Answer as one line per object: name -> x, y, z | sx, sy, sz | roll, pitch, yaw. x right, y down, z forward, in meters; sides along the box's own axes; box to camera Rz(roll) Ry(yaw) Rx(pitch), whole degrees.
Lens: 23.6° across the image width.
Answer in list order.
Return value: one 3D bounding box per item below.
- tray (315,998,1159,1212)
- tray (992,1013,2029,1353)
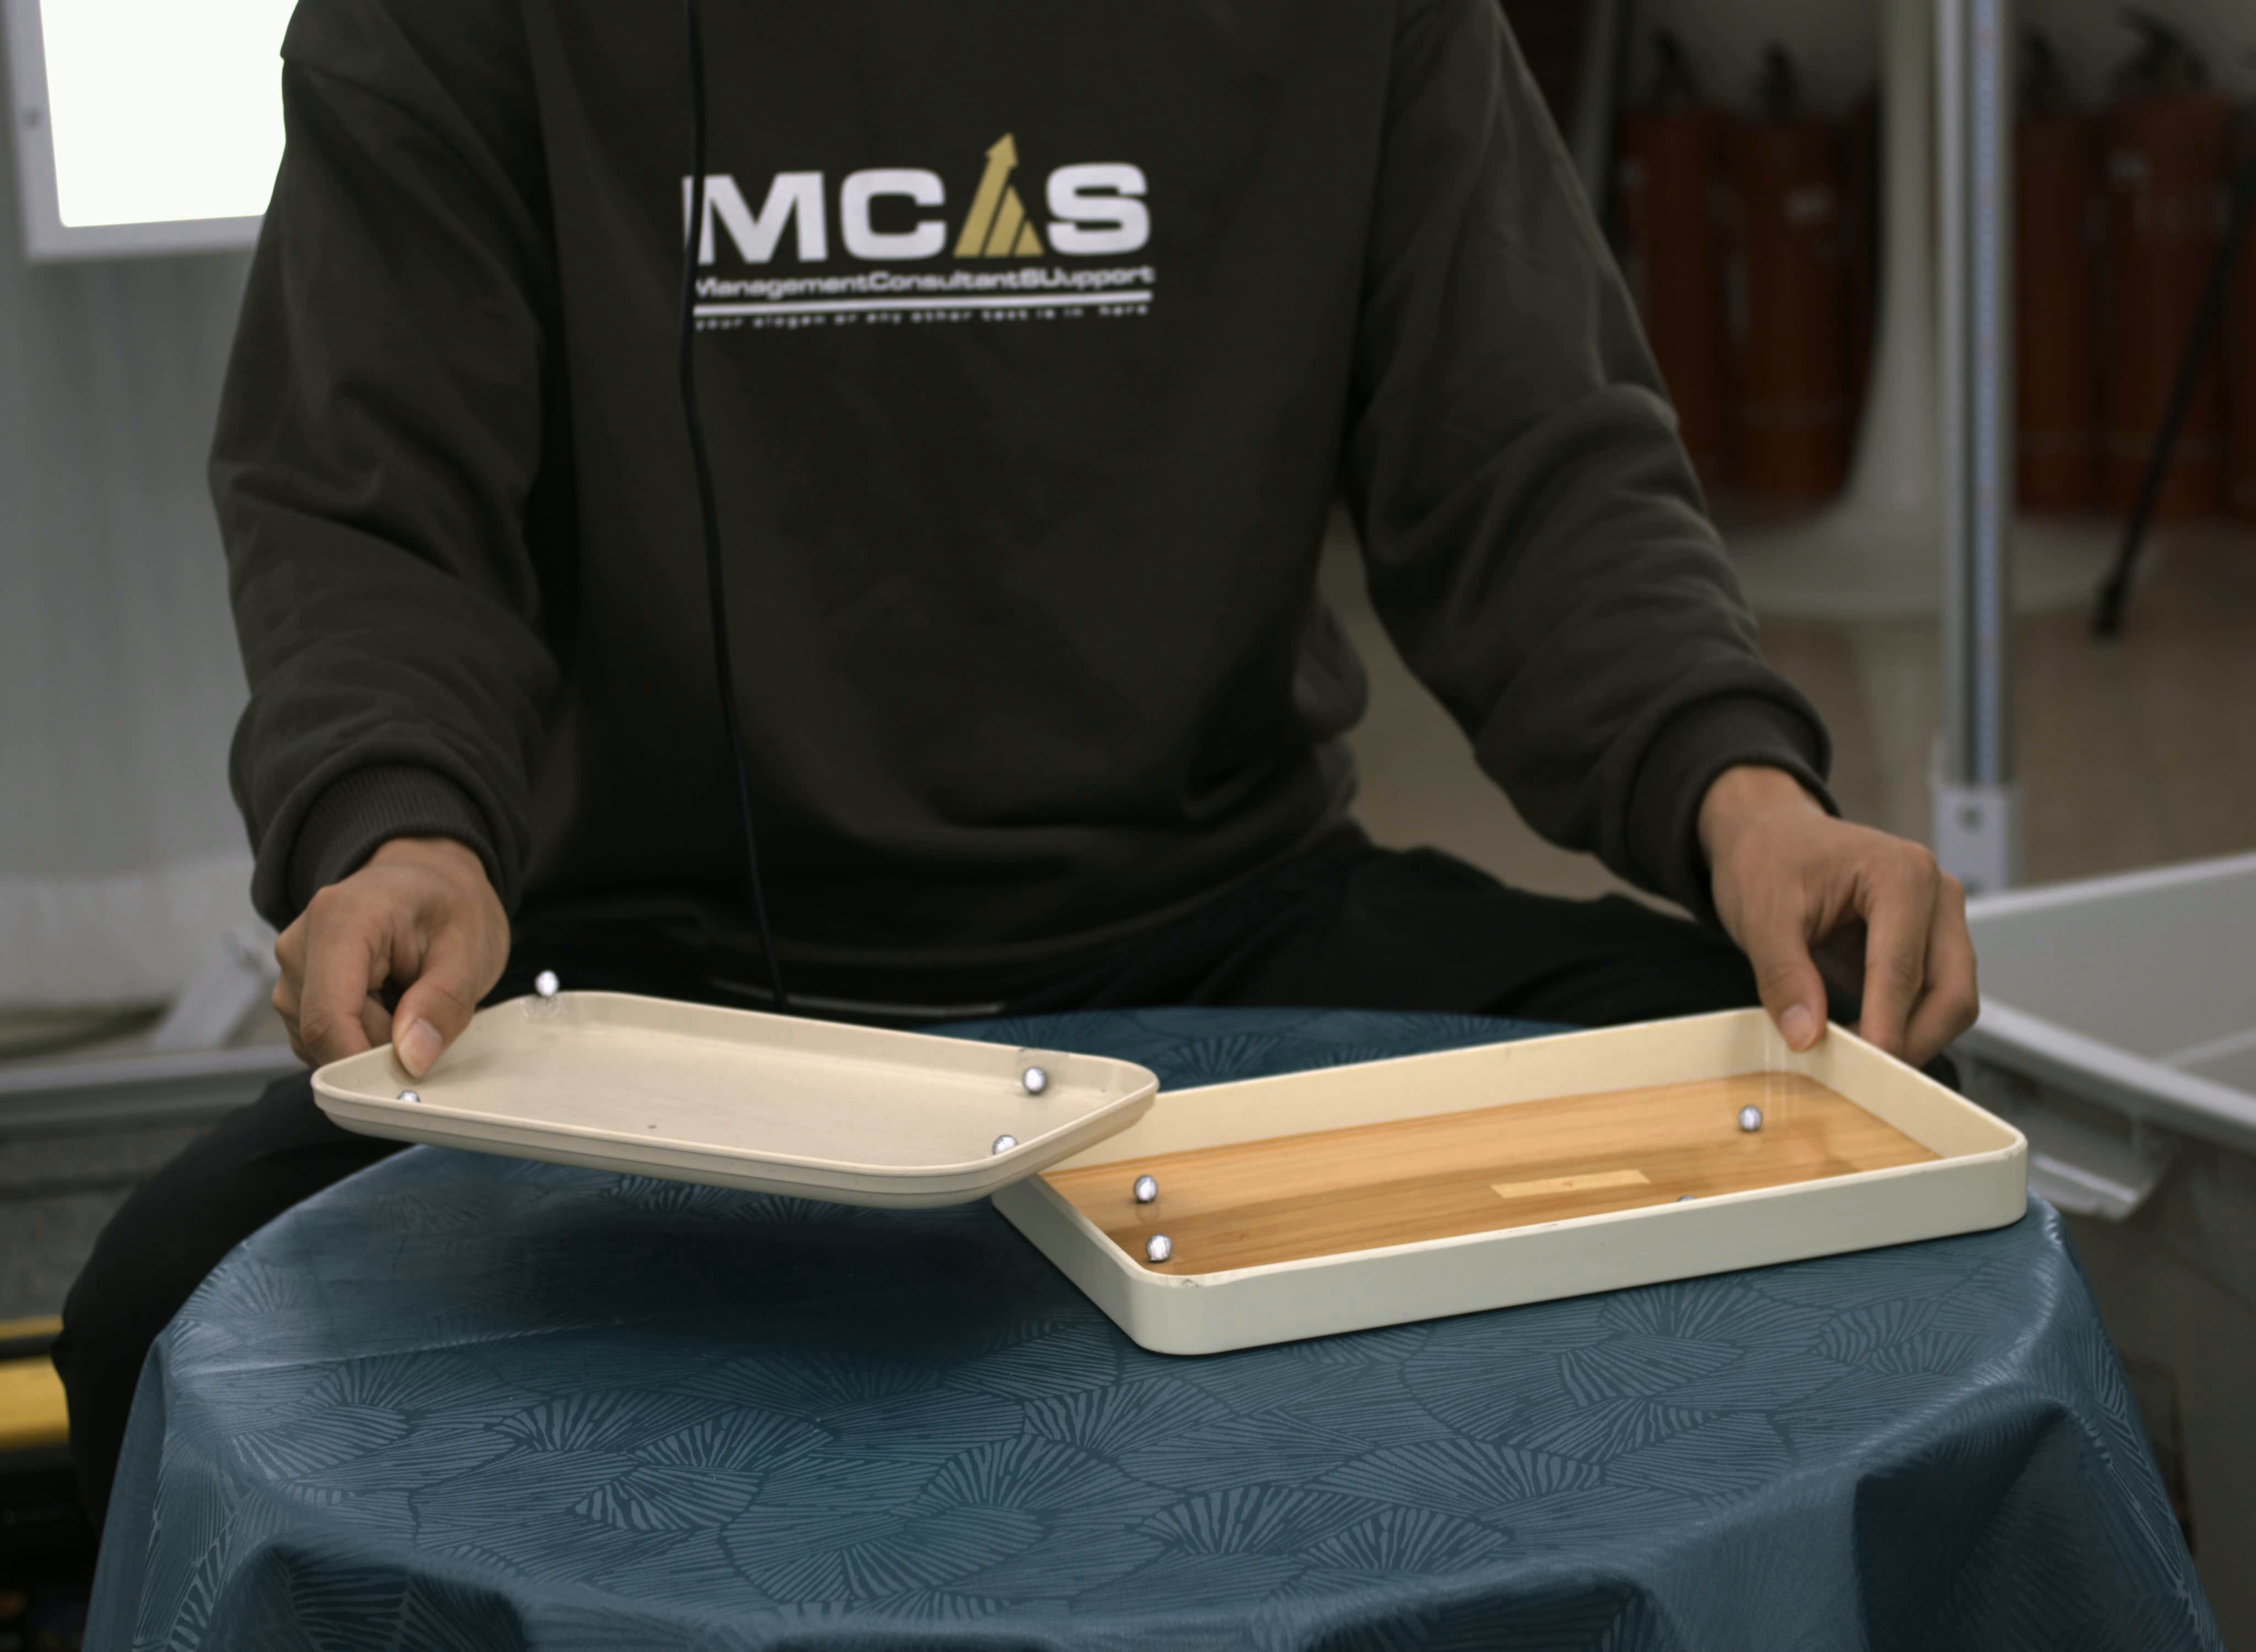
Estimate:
tray -> -0.122, 0.087, 1.697 | 0.240, 0.018, 0.169 | 6, 11, 26
tray -> 0.119, 0.112, 1.729 | 0.294, 0.028, 0.193 | -7, 13, -16
